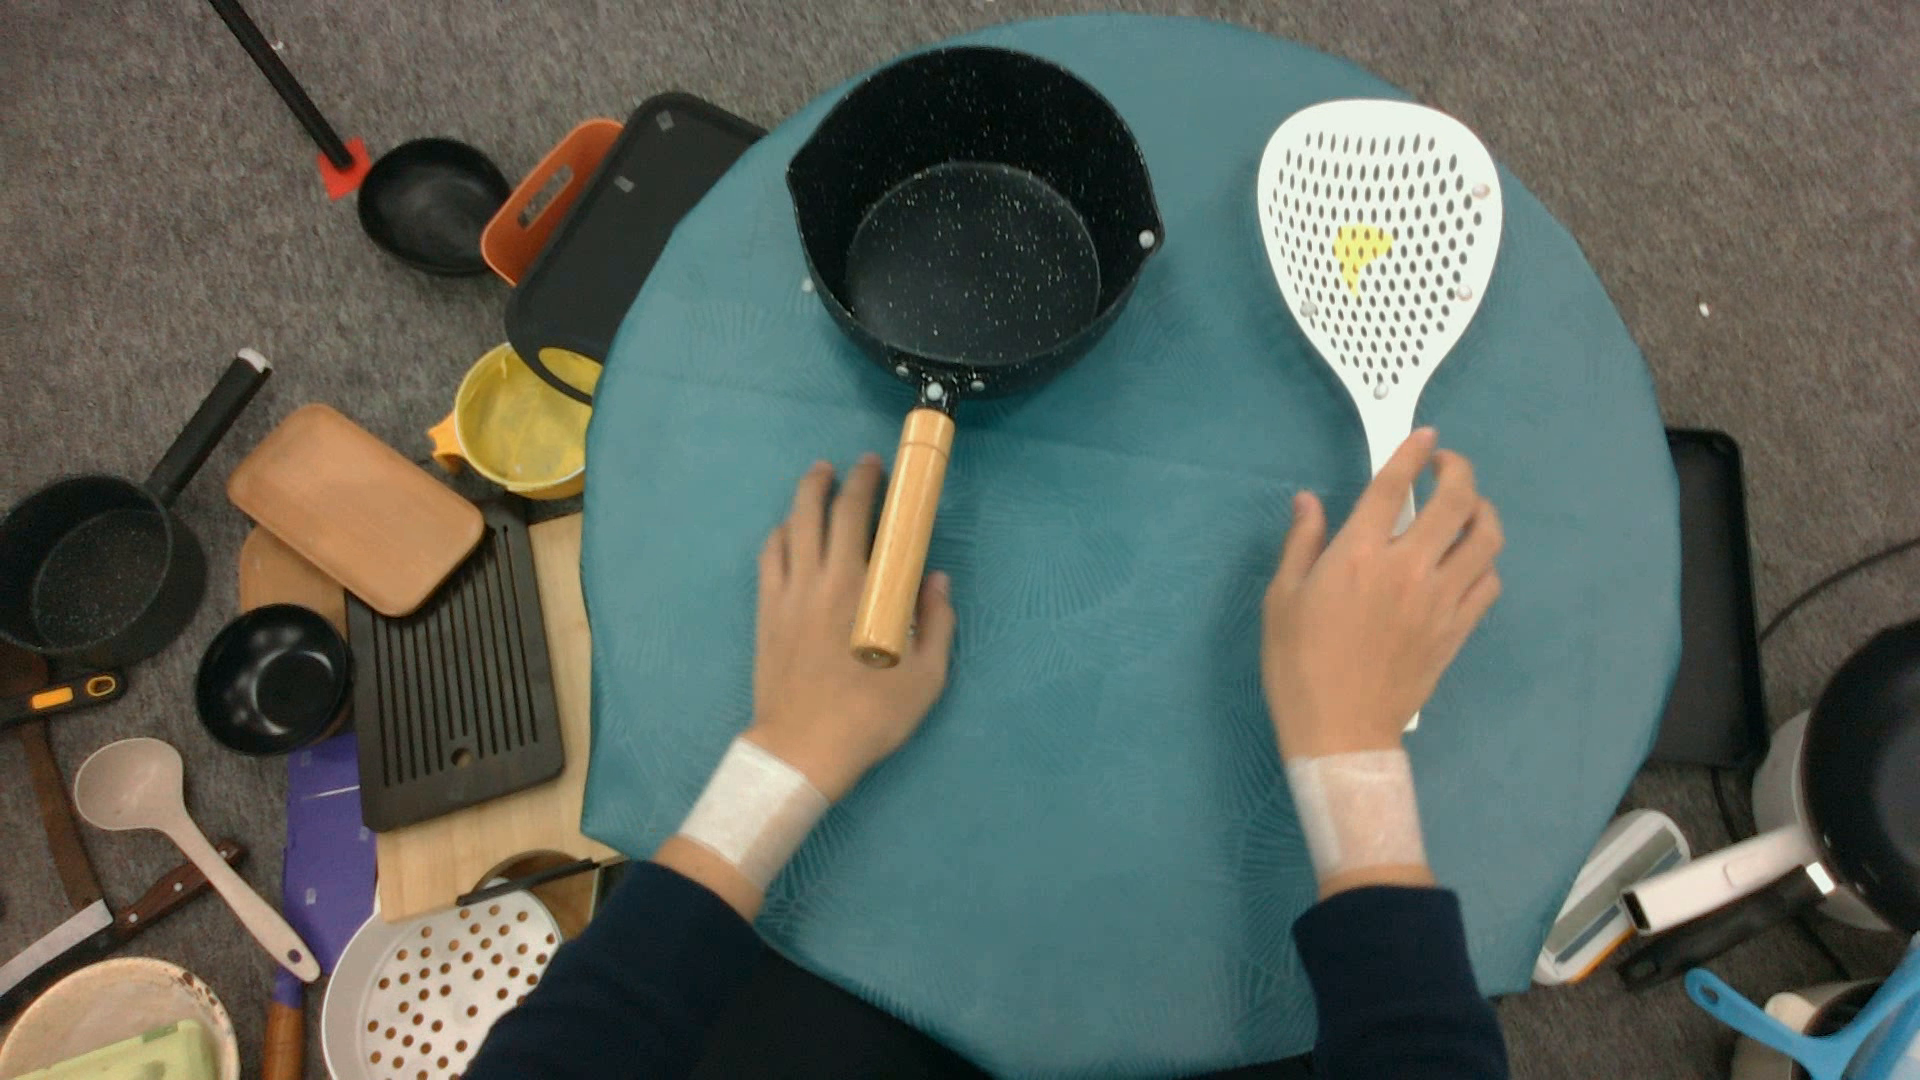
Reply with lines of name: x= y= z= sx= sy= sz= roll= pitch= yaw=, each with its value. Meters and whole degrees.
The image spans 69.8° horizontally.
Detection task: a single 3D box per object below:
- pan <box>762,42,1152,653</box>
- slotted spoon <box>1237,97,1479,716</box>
pan: x=-0.014 y=-0.096 z=0.716 sx=0.207 sy=0.108 sz=0.344 roll=10 pitch=71 yaw=1
slotted spoon: x=0.222 y=-0.081 z=0.749 sx=0.137 sy=0.050 sz=0.349 roll=1 pitch=71 yaw=-3
